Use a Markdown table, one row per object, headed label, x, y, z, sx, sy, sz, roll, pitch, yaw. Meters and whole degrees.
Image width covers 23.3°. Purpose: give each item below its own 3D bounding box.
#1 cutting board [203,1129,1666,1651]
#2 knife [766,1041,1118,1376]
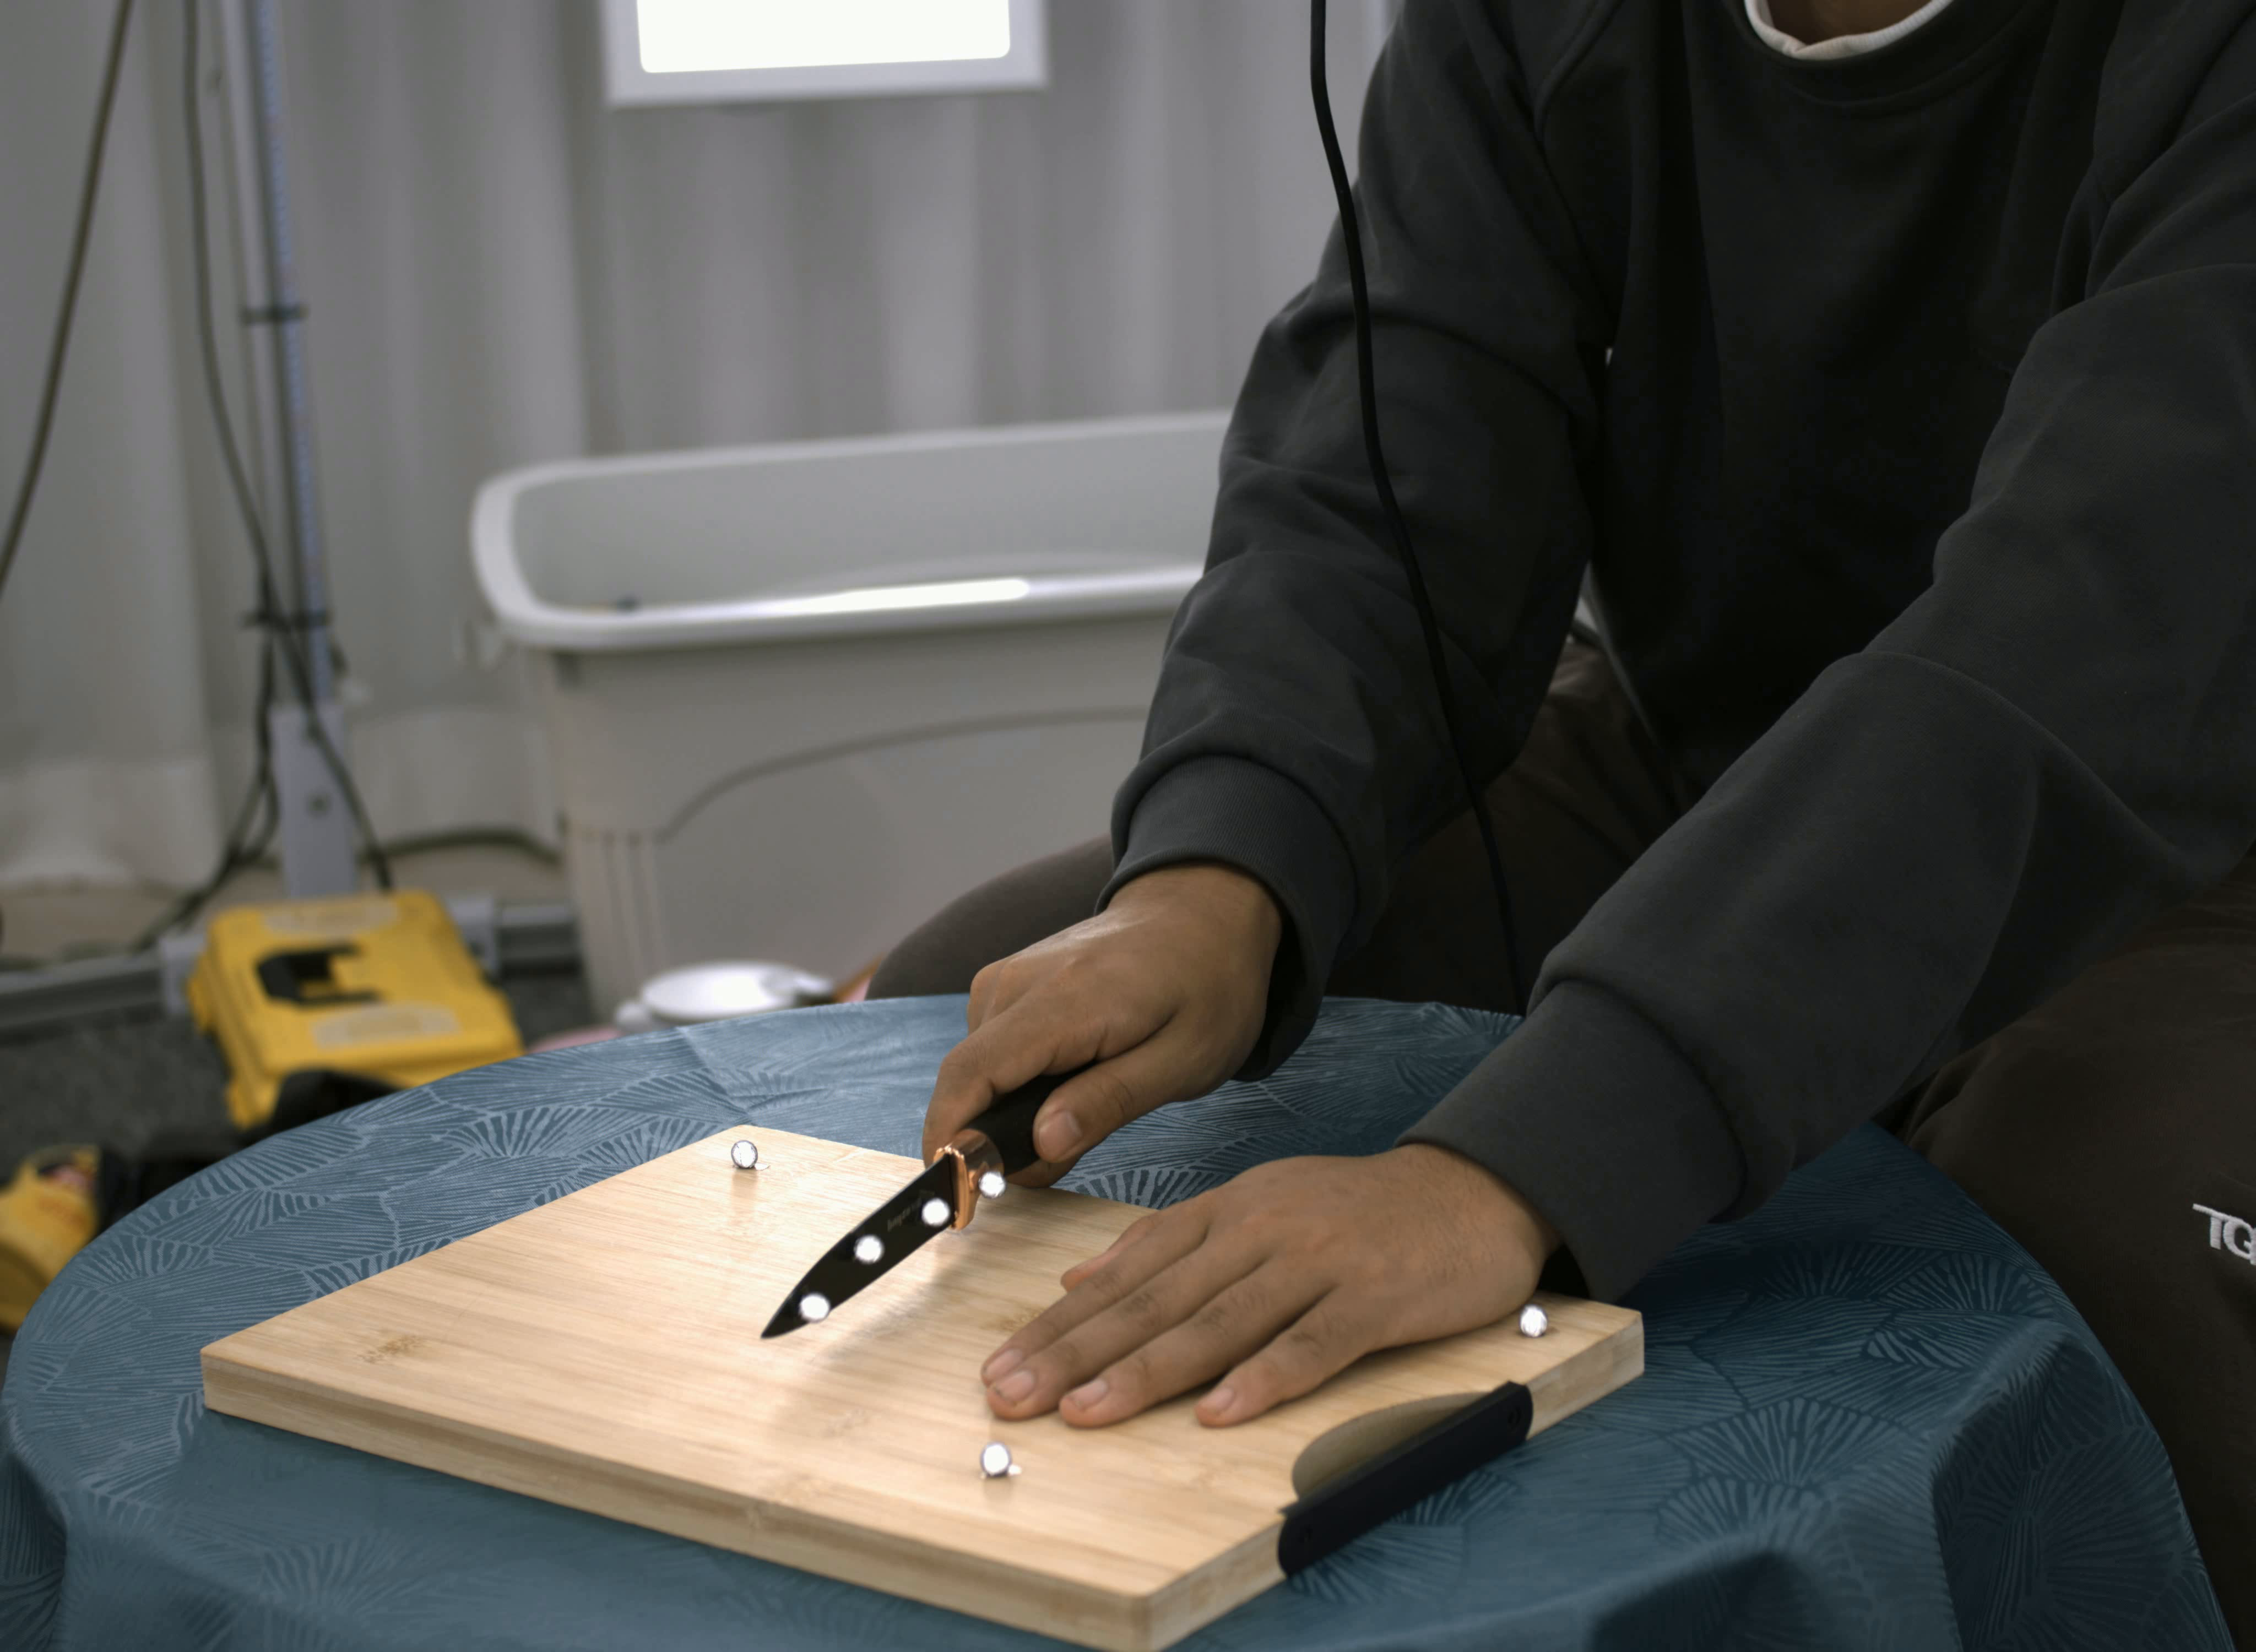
| label | x | y | z | sx | sy | sz | roll | pitch | yaw |
| --- | --- | --- | --- | --- | --- | --- | --- | --- | --- |
| cutting board | -0.056 | 0.154 | 1.549 | 0.350 | 0.023 | 0.250 | 8 | 19 | 36 |
| knife | -0.053 | 0.109 | 1.609 | 0.017 | 0.026 | 0.226 | 6 | 21 | 24 |
